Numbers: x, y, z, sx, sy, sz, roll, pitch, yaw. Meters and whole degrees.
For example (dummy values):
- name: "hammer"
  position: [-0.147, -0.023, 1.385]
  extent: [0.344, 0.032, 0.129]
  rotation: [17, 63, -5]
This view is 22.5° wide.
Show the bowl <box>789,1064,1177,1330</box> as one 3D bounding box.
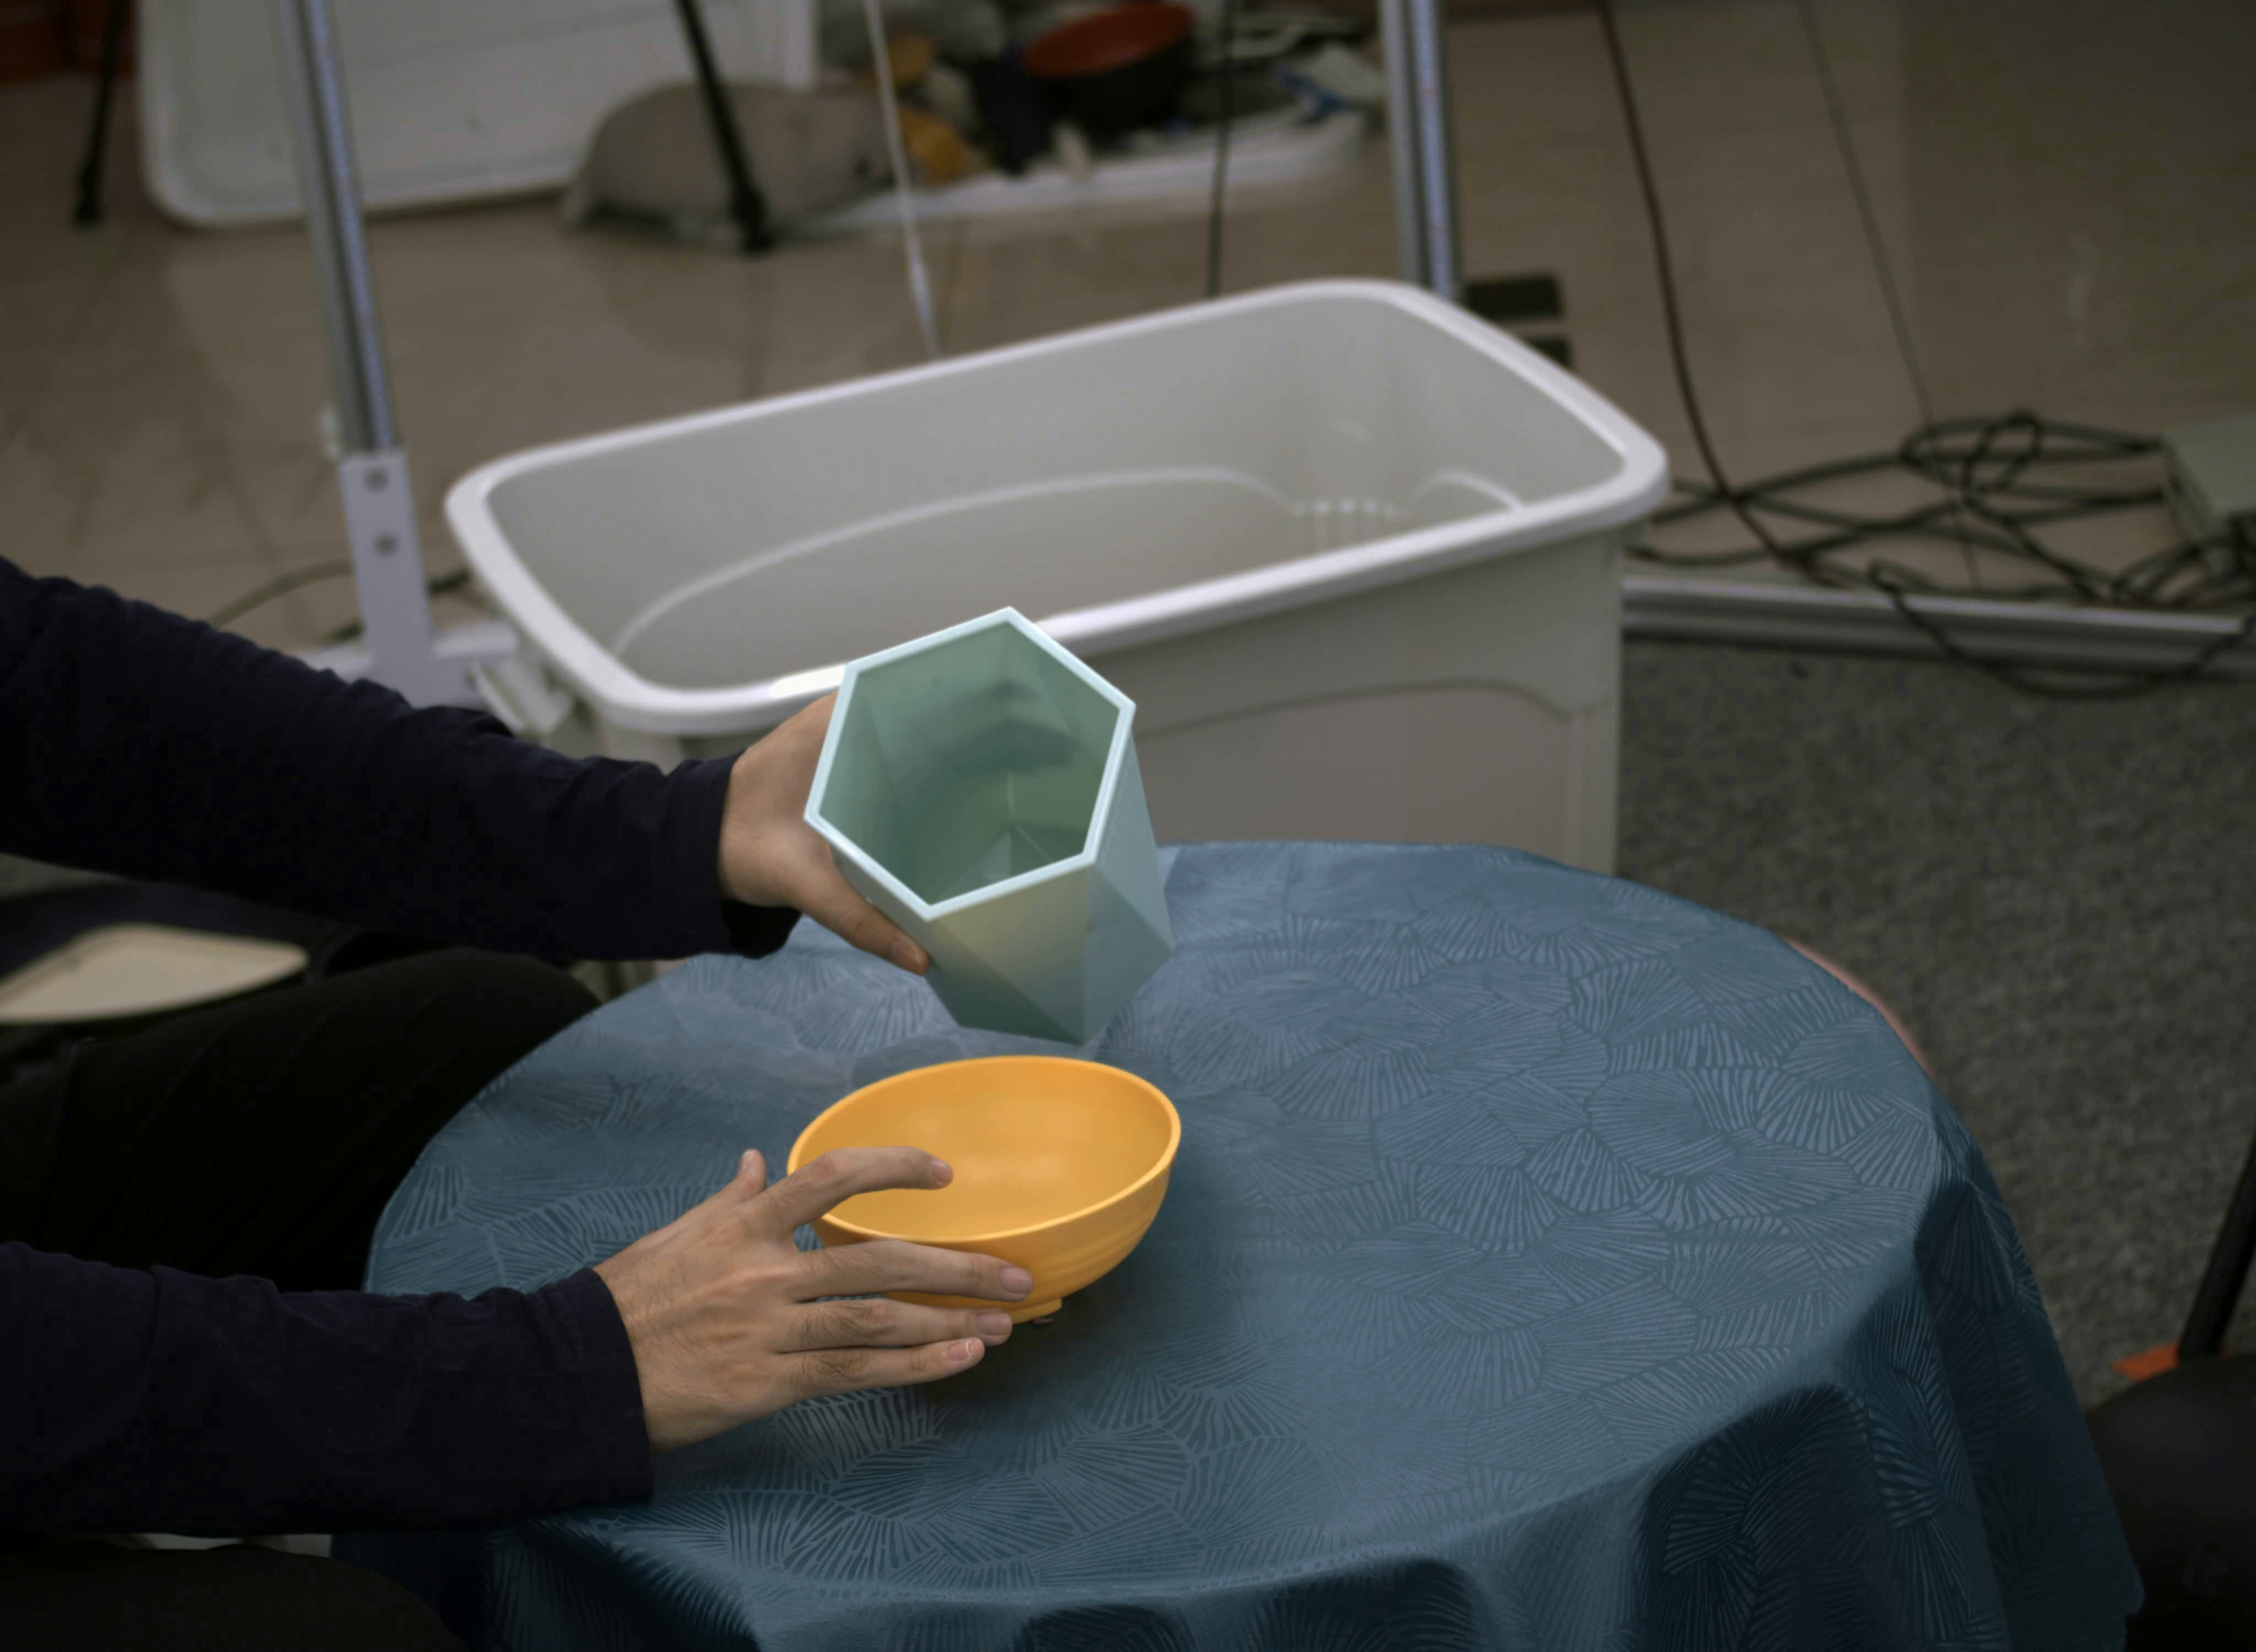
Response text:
- name: "bowl"
  position: [-0.050, 0.144, 2.081]
  extent: [0.145, 0.061, 0.143]
  rotation: [-7, 24, 3]

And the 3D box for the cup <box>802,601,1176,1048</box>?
- name: "cup"
  position: [-0.045, 0.008, 2.176]
  extent: [0.115, 0.165, 0.129]
  rotation: [6, 66, 15]
